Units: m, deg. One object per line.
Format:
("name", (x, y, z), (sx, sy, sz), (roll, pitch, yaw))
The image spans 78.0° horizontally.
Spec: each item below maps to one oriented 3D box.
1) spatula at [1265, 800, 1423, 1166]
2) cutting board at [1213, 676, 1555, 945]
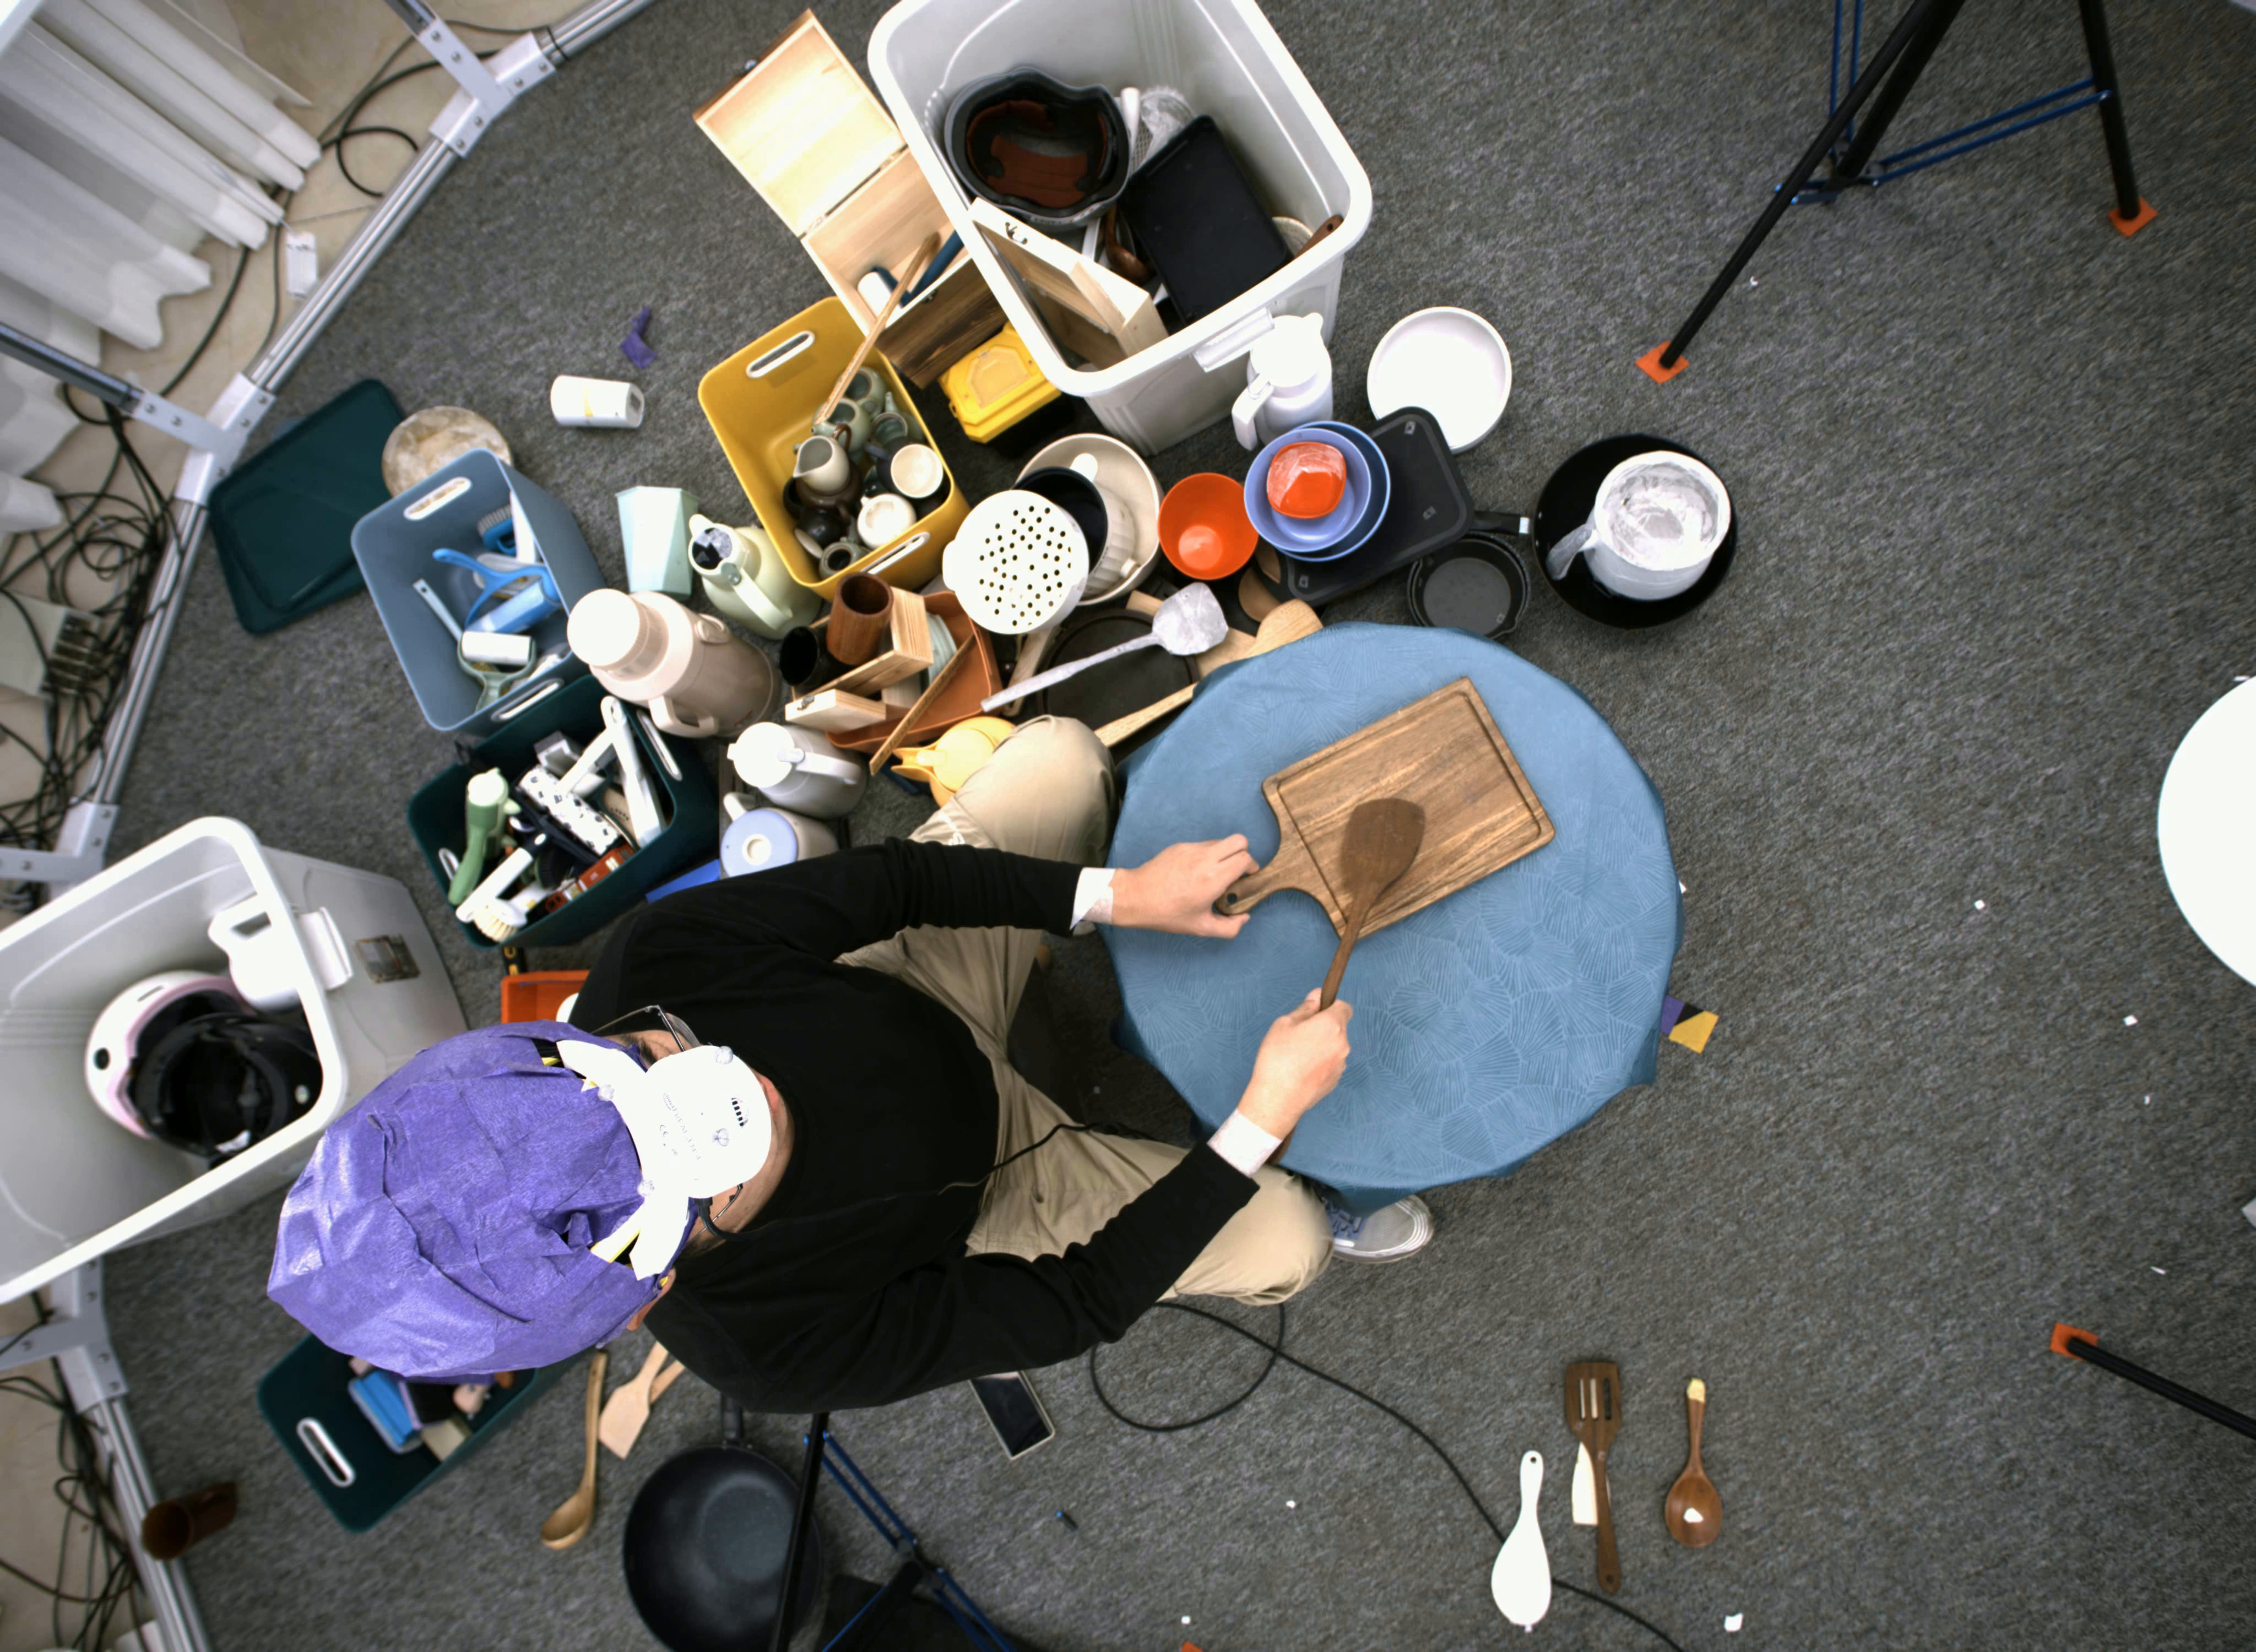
("spatula", (0.204, 0.147, 1.359), (0.096, 0.016, 0.381), (5, 69, 52))
("cutting board", (0.246, 0.004, 1.443), (0.353, 0.023, 0.200), (-28, 82, 3))
